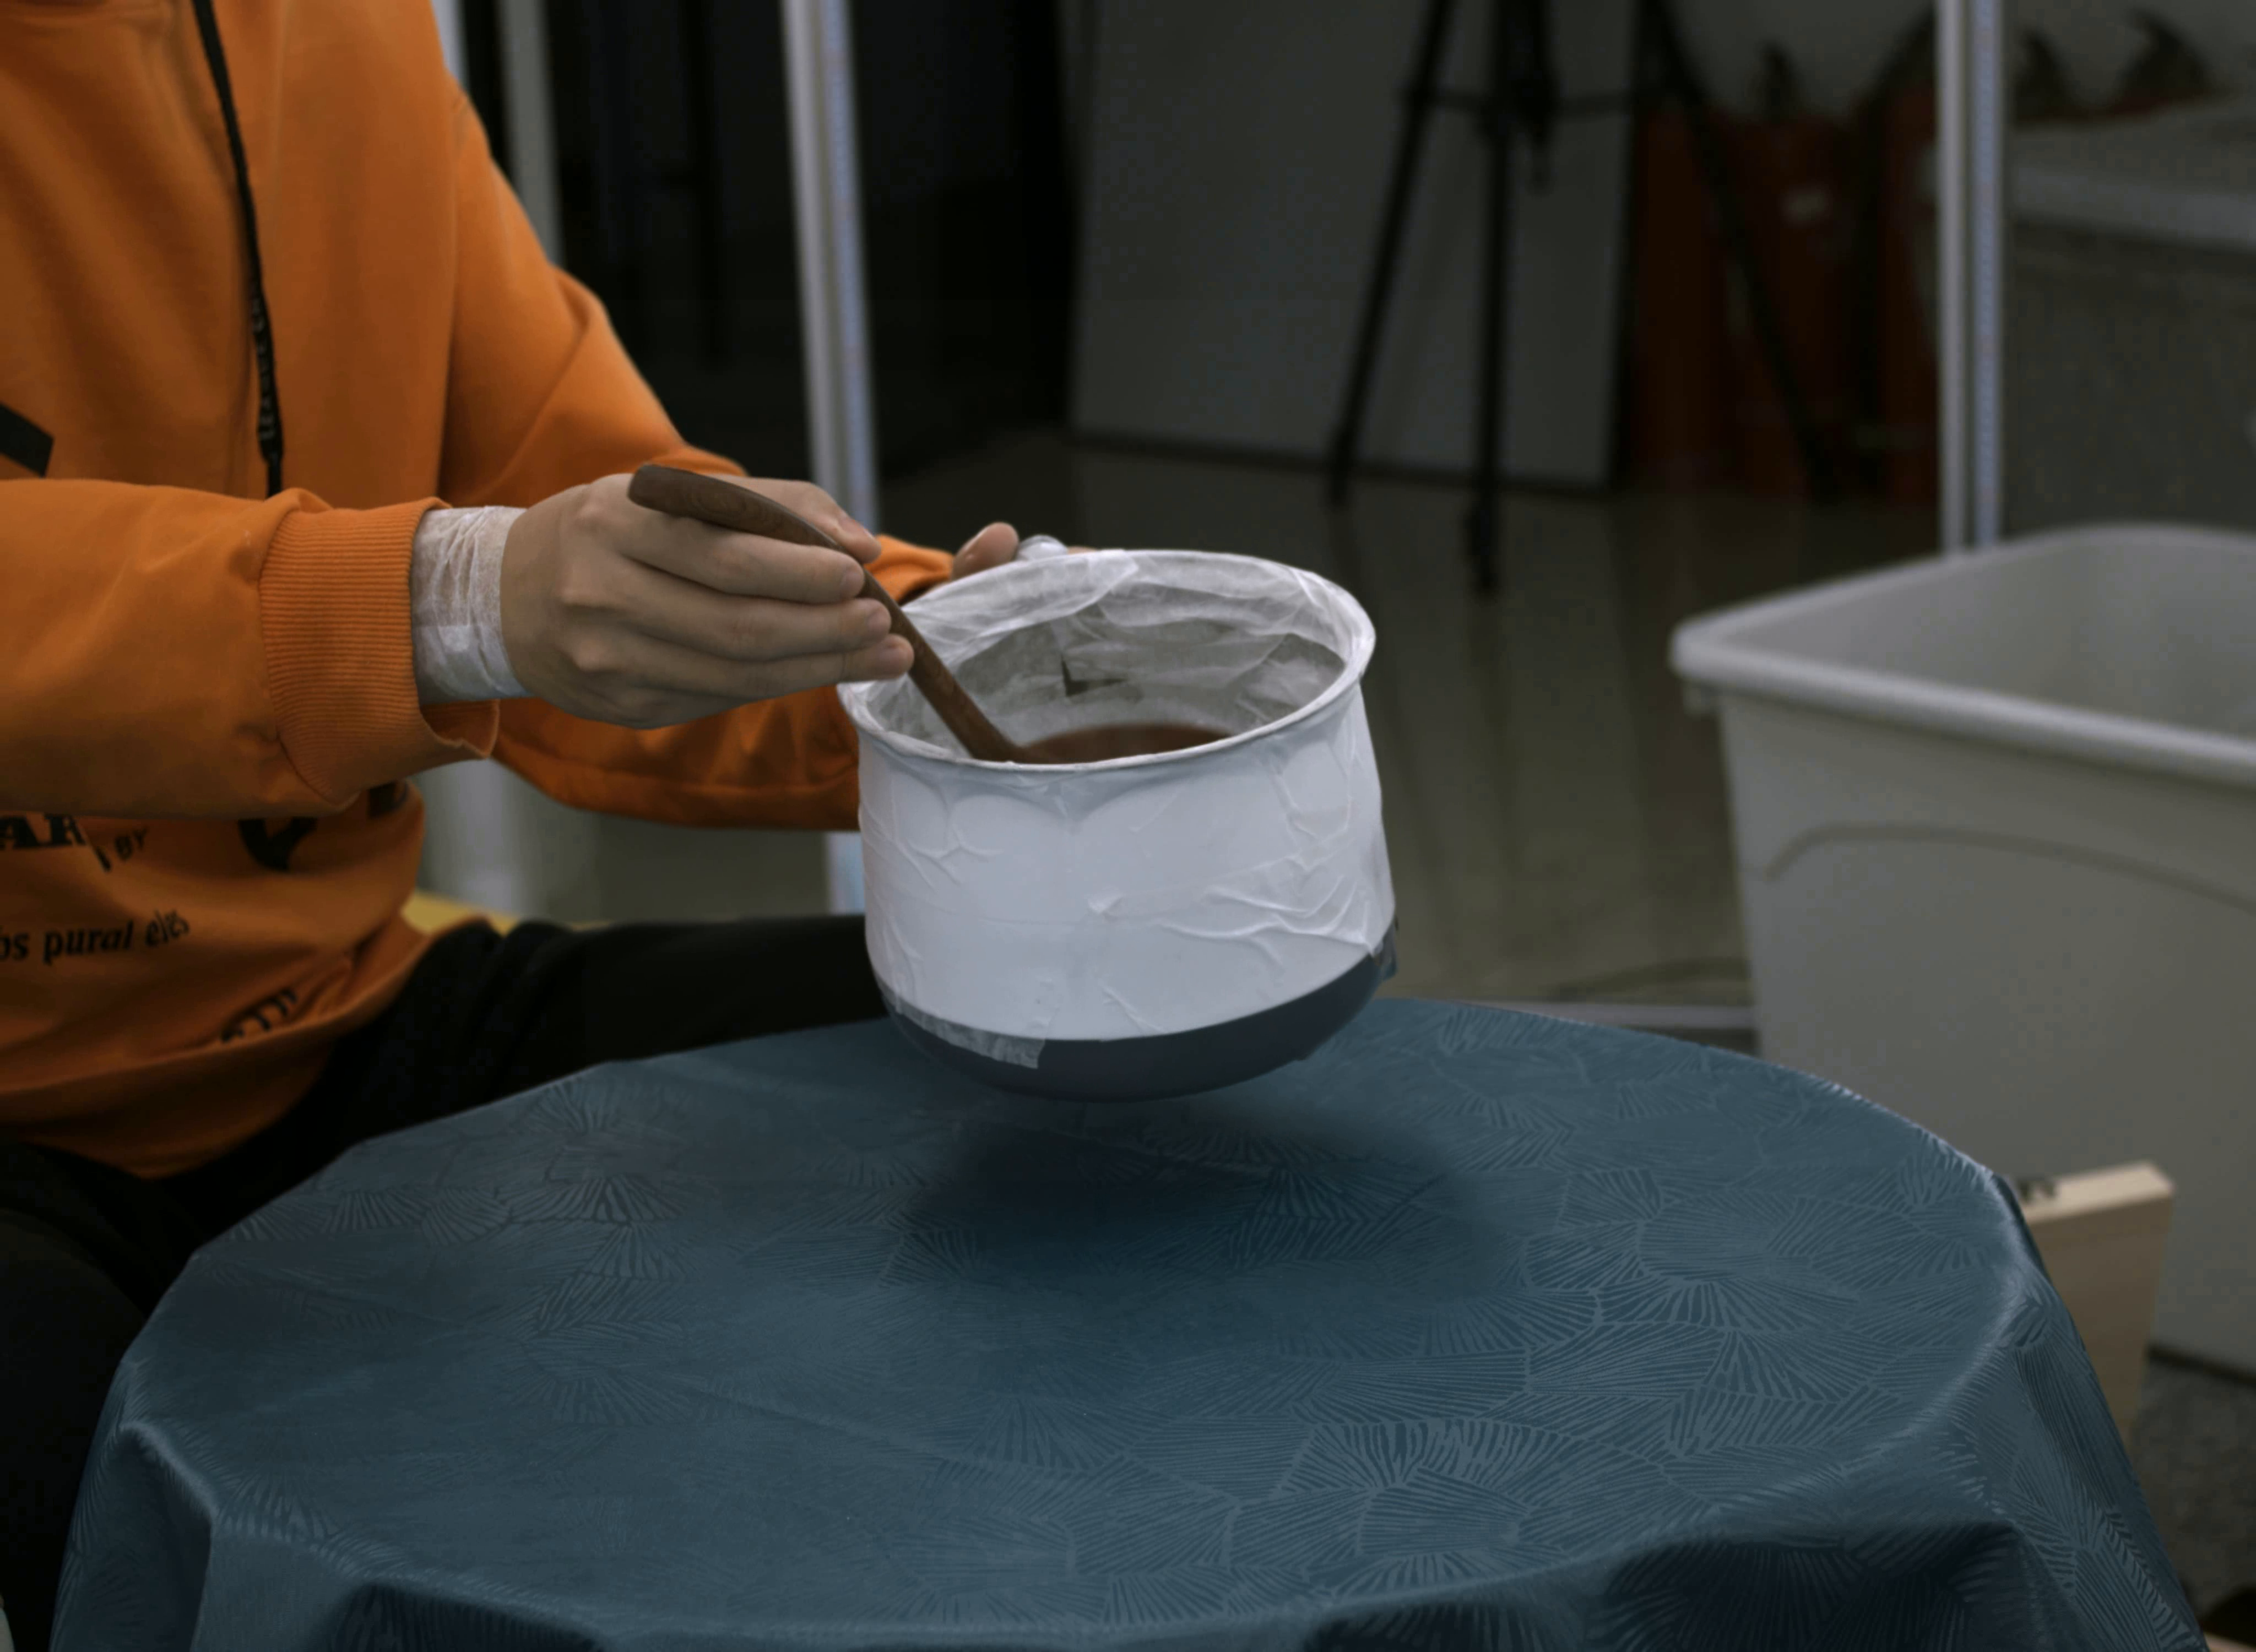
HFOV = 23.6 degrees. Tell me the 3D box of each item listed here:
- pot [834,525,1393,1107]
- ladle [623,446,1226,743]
[{"bbox_3d":[-0.010,-0.011,1.795,0.175,0.138,0.236,-11,25,-11],"label":"pot"},{"bbox_3d":[-0.058,-0.066,1.703,0.077,0.065,0.256,14,-21,50],"label":"ladle"}]
